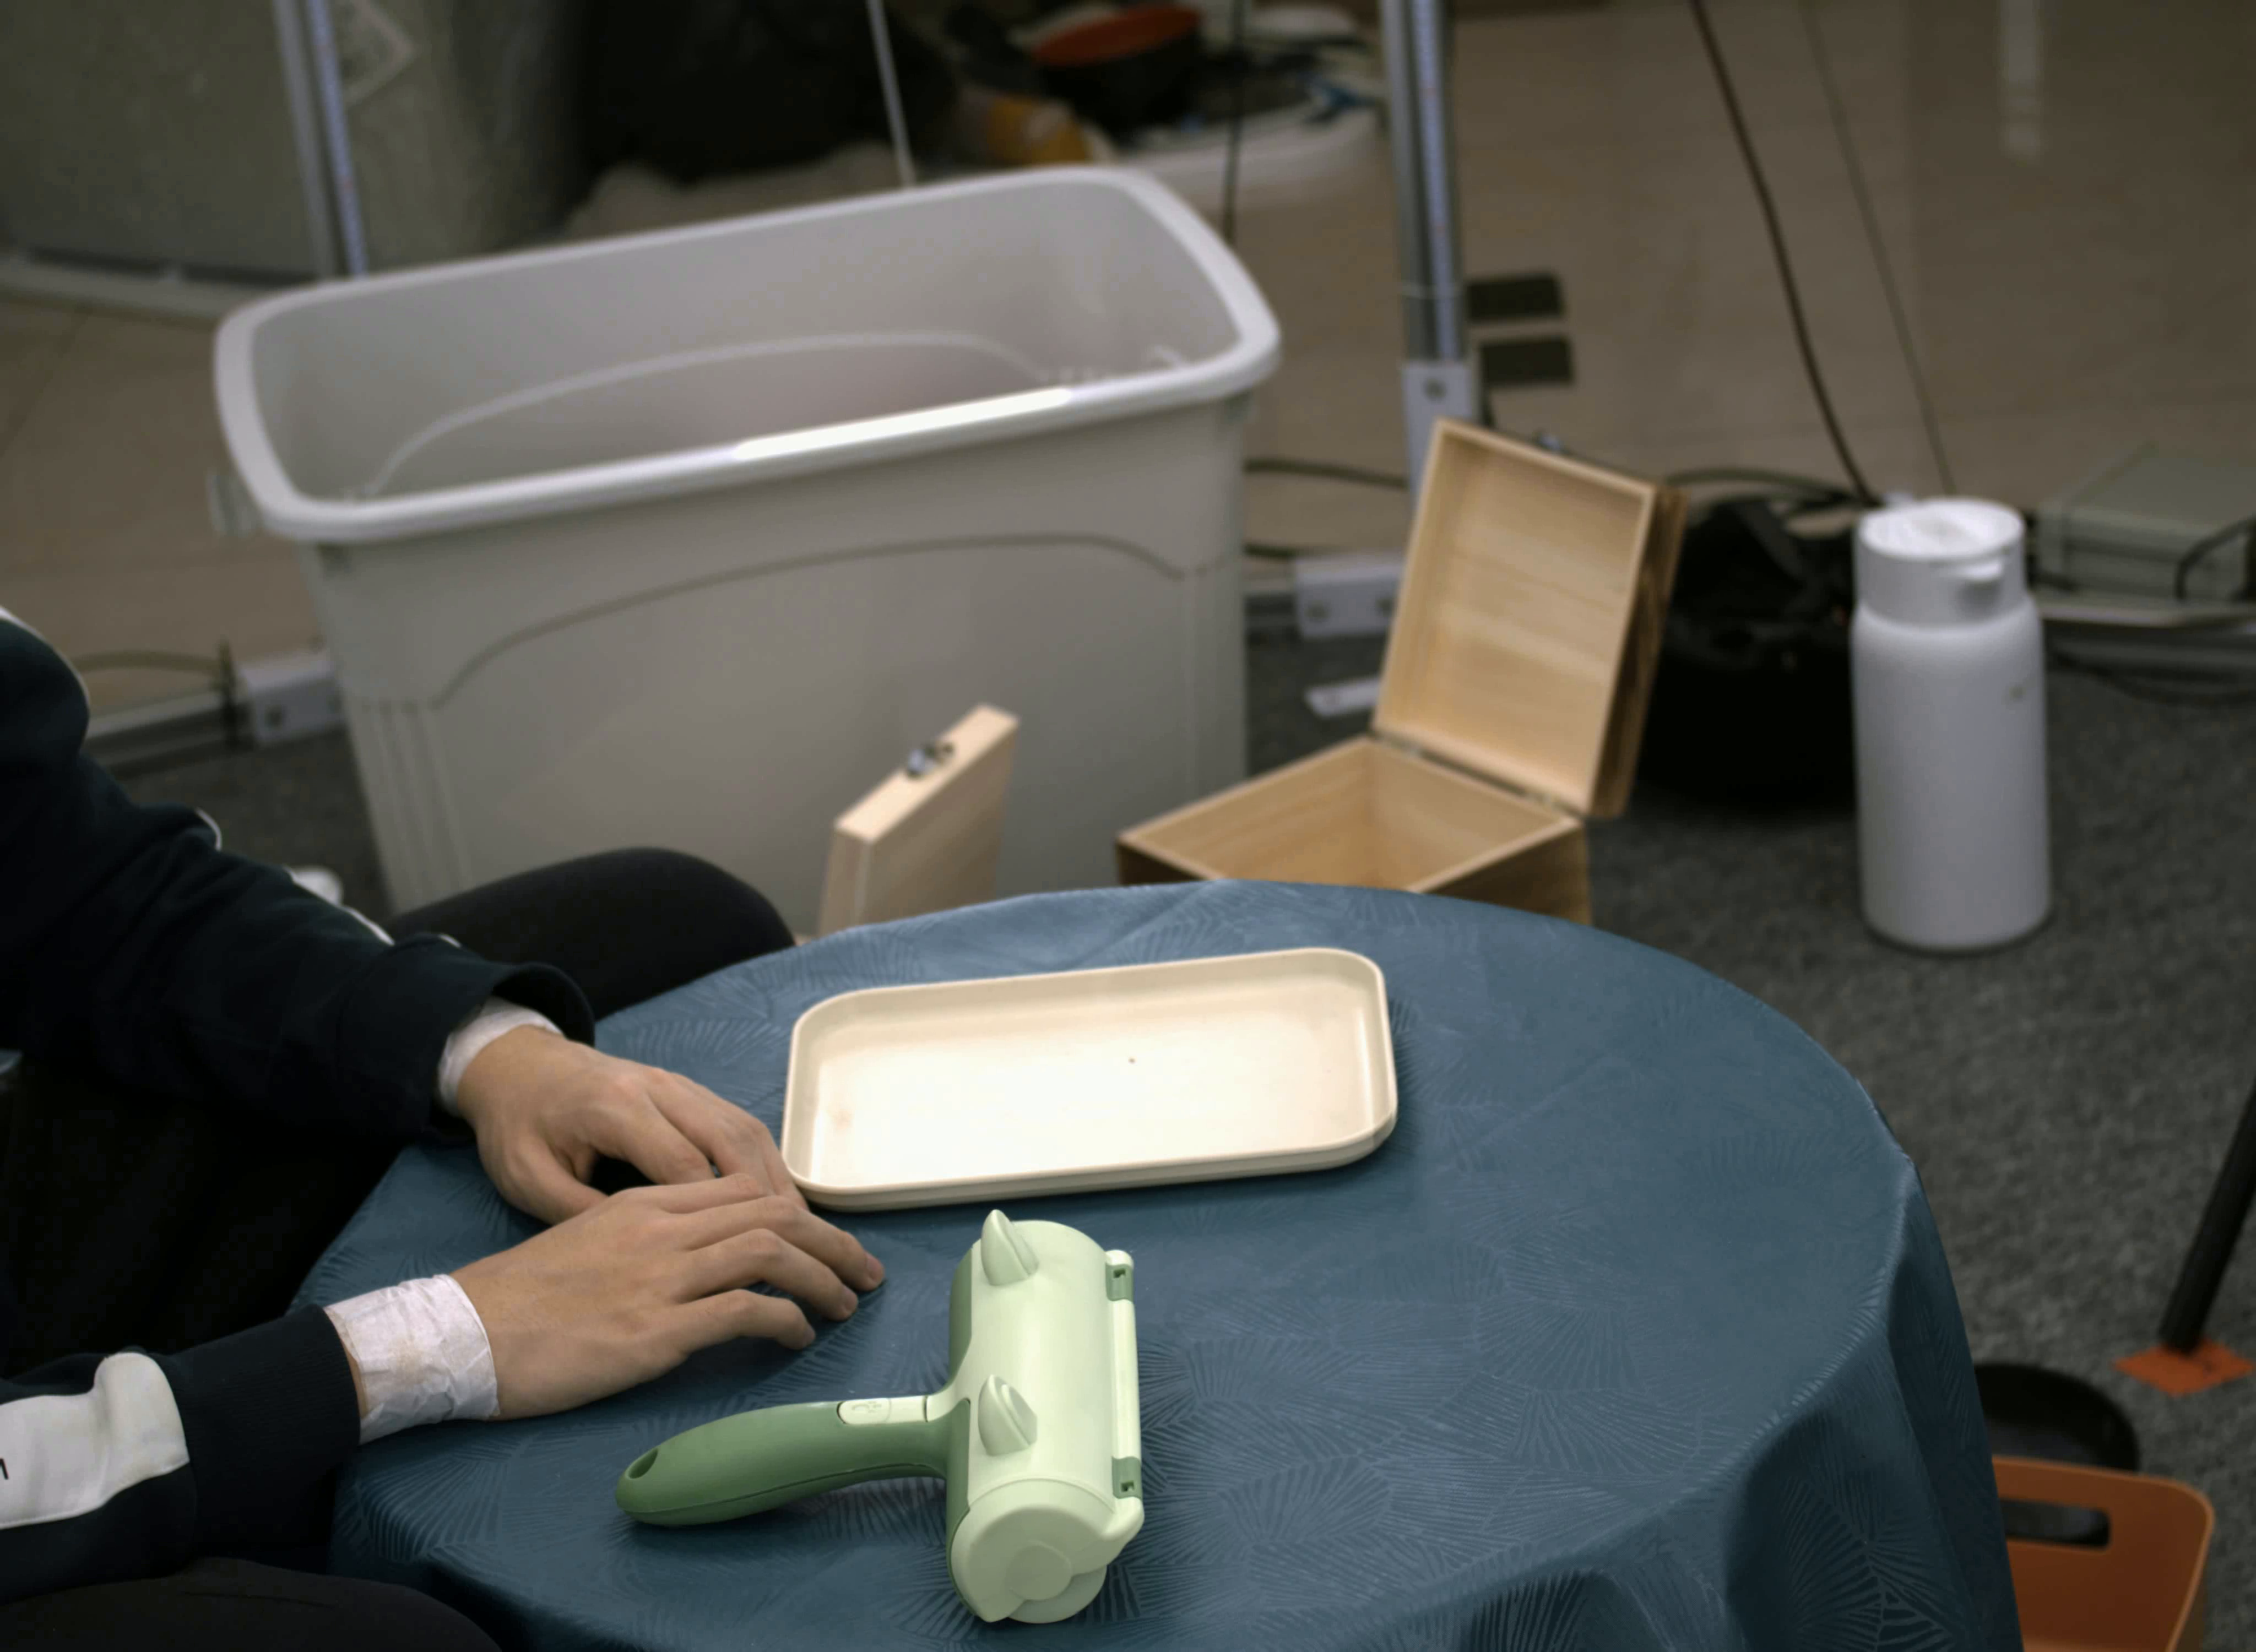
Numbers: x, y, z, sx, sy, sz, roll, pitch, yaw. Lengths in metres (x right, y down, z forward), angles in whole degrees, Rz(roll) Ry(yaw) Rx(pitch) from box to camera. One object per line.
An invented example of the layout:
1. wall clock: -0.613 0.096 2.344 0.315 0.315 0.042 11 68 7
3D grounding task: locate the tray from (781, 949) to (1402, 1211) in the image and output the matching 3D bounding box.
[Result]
1. tray: -0.015 0.100 2.210 0.239 0.018 0.169 -6 24 2

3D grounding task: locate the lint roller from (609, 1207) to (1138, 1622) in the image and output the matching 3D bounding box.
1. lint roller: -0.089 0.197 1.949 0.183 0.083 0.195 -2 25 0
